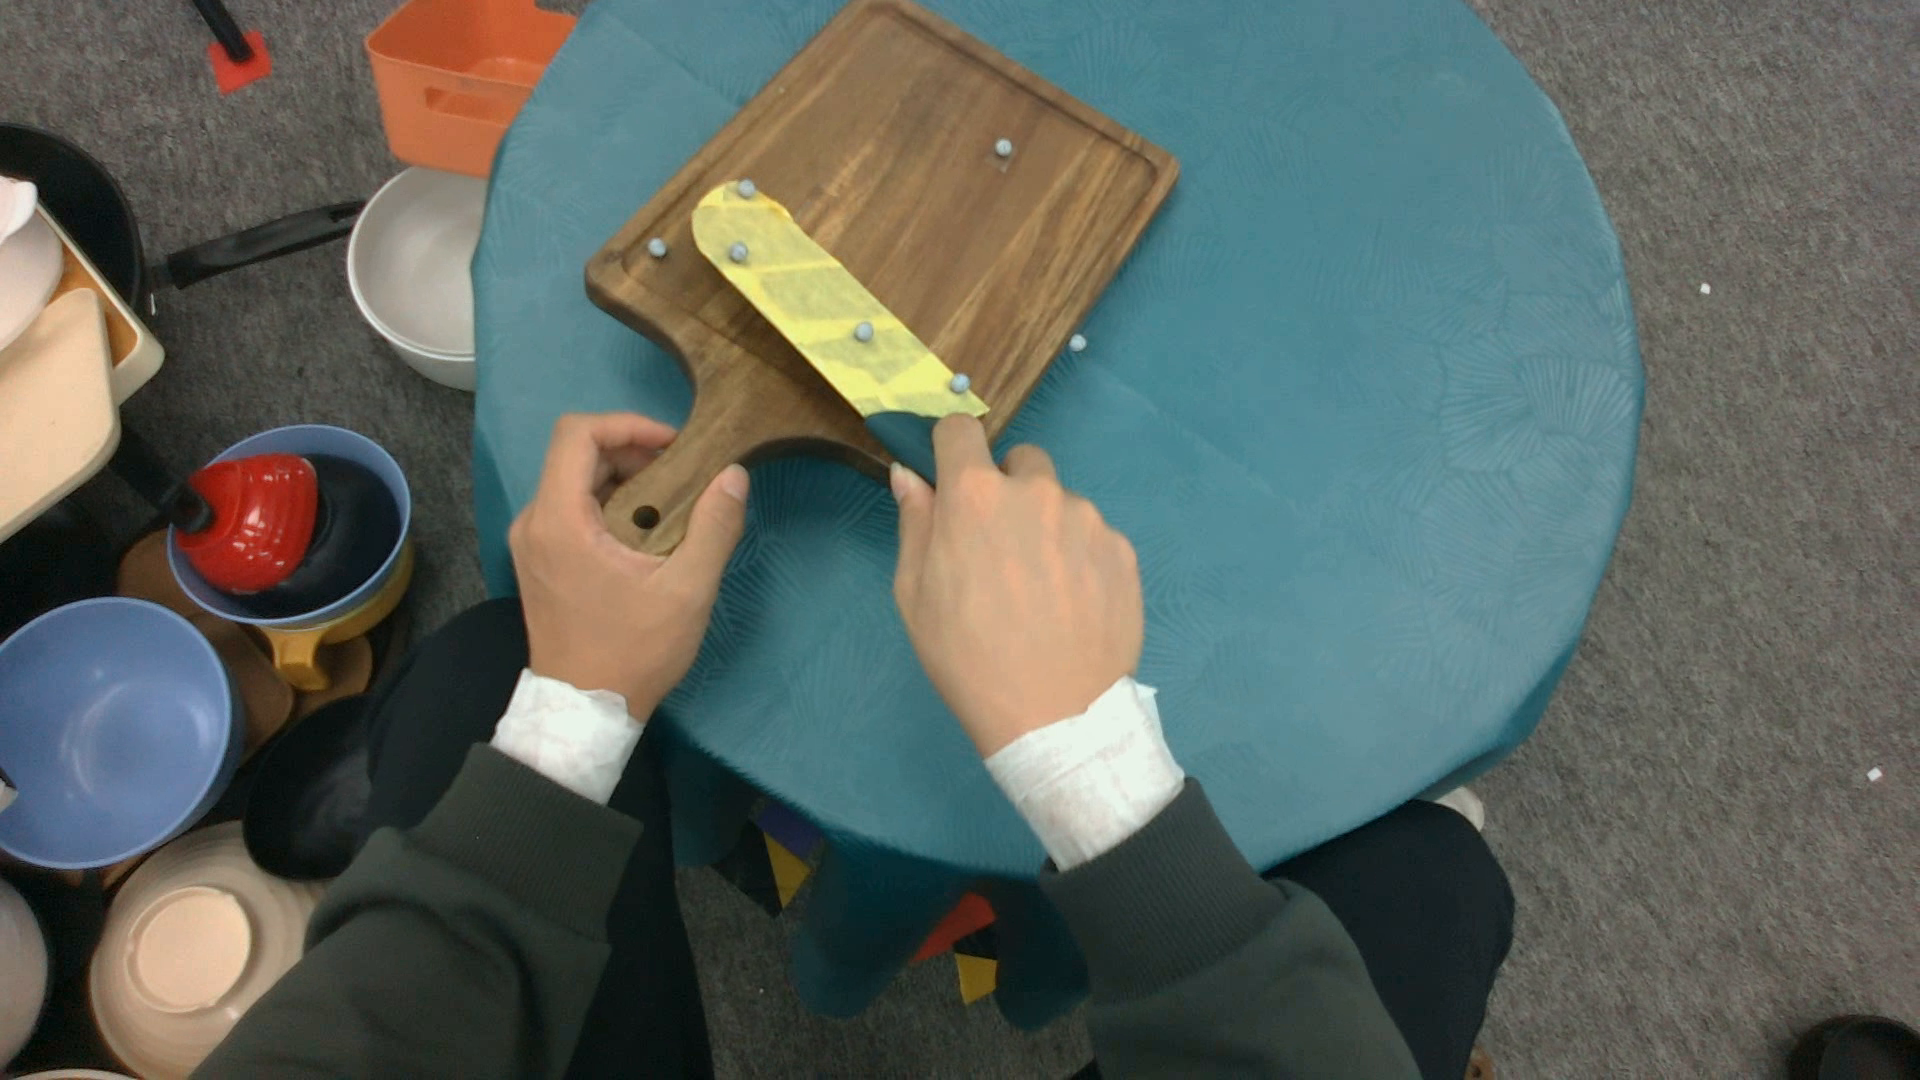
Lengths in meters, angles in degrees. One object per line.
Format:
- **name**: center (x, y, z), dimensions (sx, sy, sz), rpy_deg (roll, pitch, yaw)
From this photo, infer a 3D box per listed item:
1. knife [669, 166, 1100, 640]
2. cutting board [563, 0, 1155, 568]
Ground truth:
- **knife**: center (-0.034, -0.070, 0.591), dimensions (0.081, 0.027, 0.290), rpy_deg (-19, 62, -47)
- **cutting board**: center (-0.062, -0.125, 0.647), dimensions (0.201, 0.023, 0.354), rpy_deg (31, 60, 4)
